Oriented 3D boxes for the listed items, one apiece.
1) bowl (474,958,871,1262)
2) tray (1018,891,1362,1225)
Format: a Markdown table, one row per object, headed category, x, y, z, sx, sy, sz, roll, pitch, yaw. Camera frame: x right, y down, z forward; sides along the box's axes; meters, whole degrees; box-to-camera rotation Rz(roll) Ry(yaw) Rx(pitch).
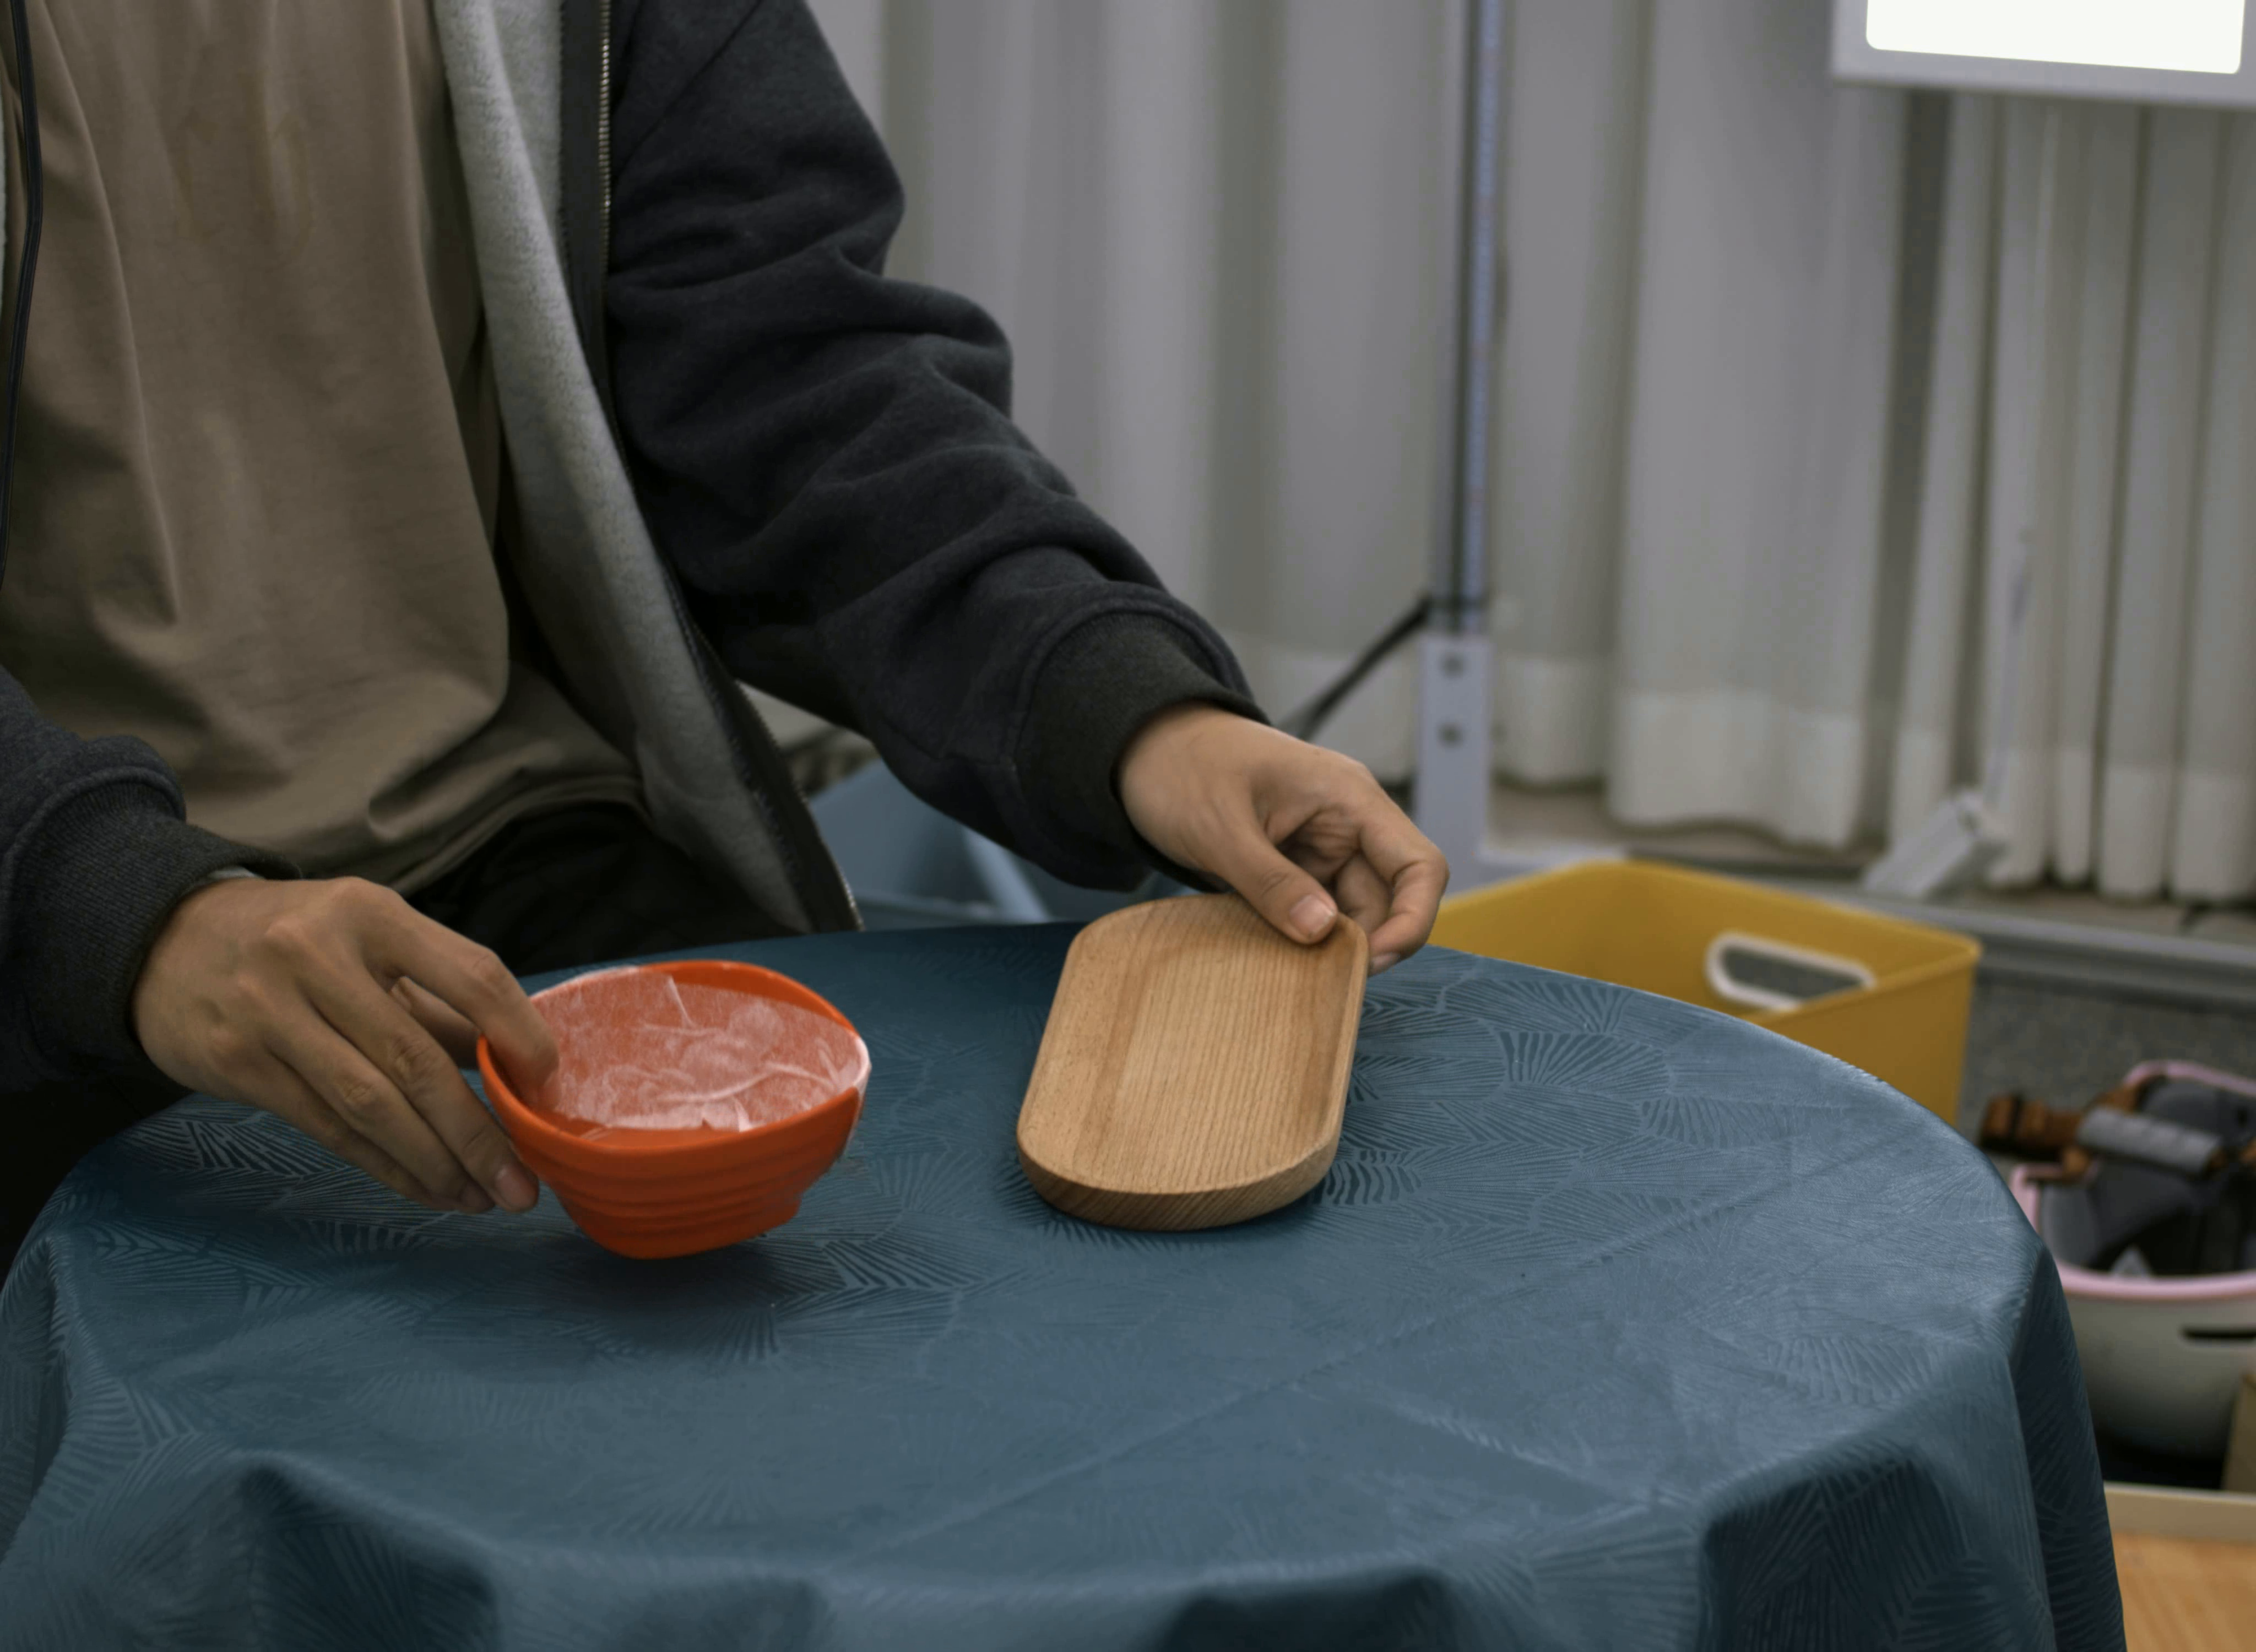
| category | x | y | z | sx | sy | sz | roll | pitch | yaw |
| --- | --- | --- | --- | --- | --- | --- | --- | --- | --- |
| bowl | -0.134 | 0.088 | 1.555 | 0.118 | 0.052 | 0.118 | 1 | 27 | 0 |
| tray | 0.022 | 0.072 | 1.690 | 0.101 | 0.020 | 0.230 | 0 | 21 | 5 |
